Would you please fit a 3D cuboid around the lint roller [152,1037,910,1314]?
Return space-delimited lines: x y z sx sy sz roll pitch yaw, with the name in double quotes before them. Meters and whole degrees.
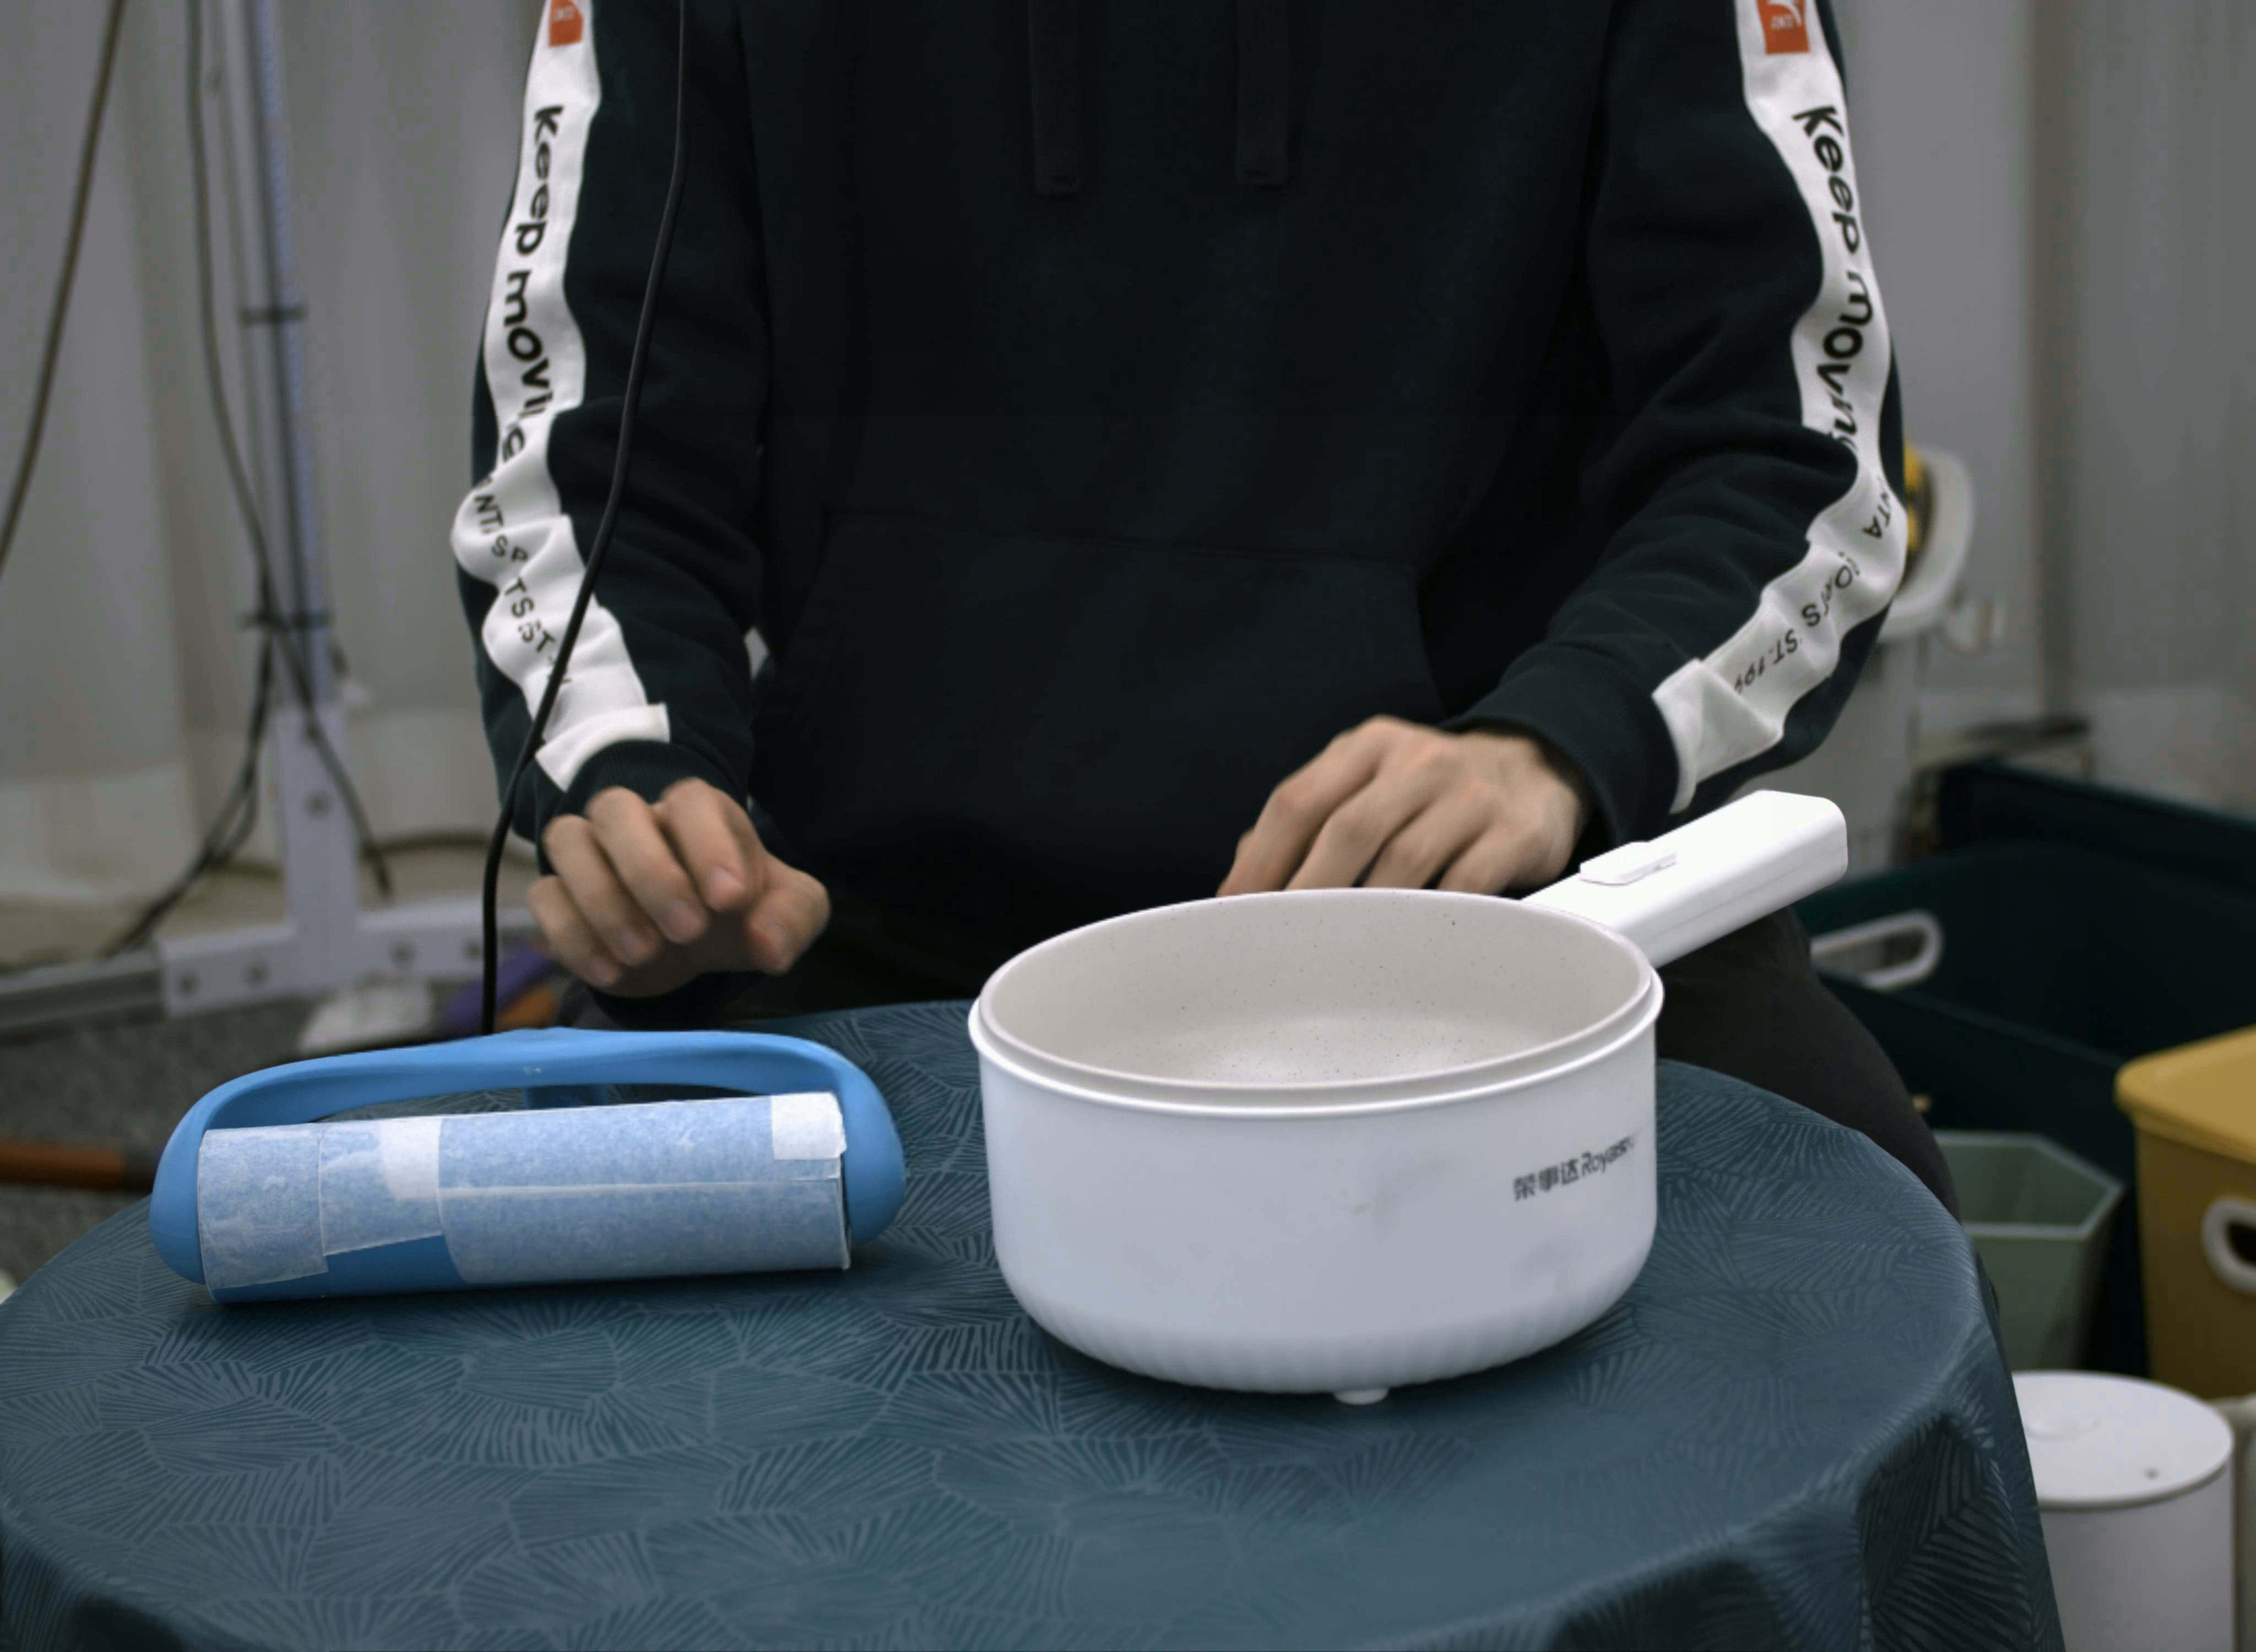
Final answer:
"lint roller" -0.185 0.097 1.709 0.228 0.067 0.181 -6 16 -3

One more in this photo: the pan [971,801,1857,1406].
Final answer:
"pan" 0.106 0.077 1.644 0.202 0.102 0.354 8 18 39
